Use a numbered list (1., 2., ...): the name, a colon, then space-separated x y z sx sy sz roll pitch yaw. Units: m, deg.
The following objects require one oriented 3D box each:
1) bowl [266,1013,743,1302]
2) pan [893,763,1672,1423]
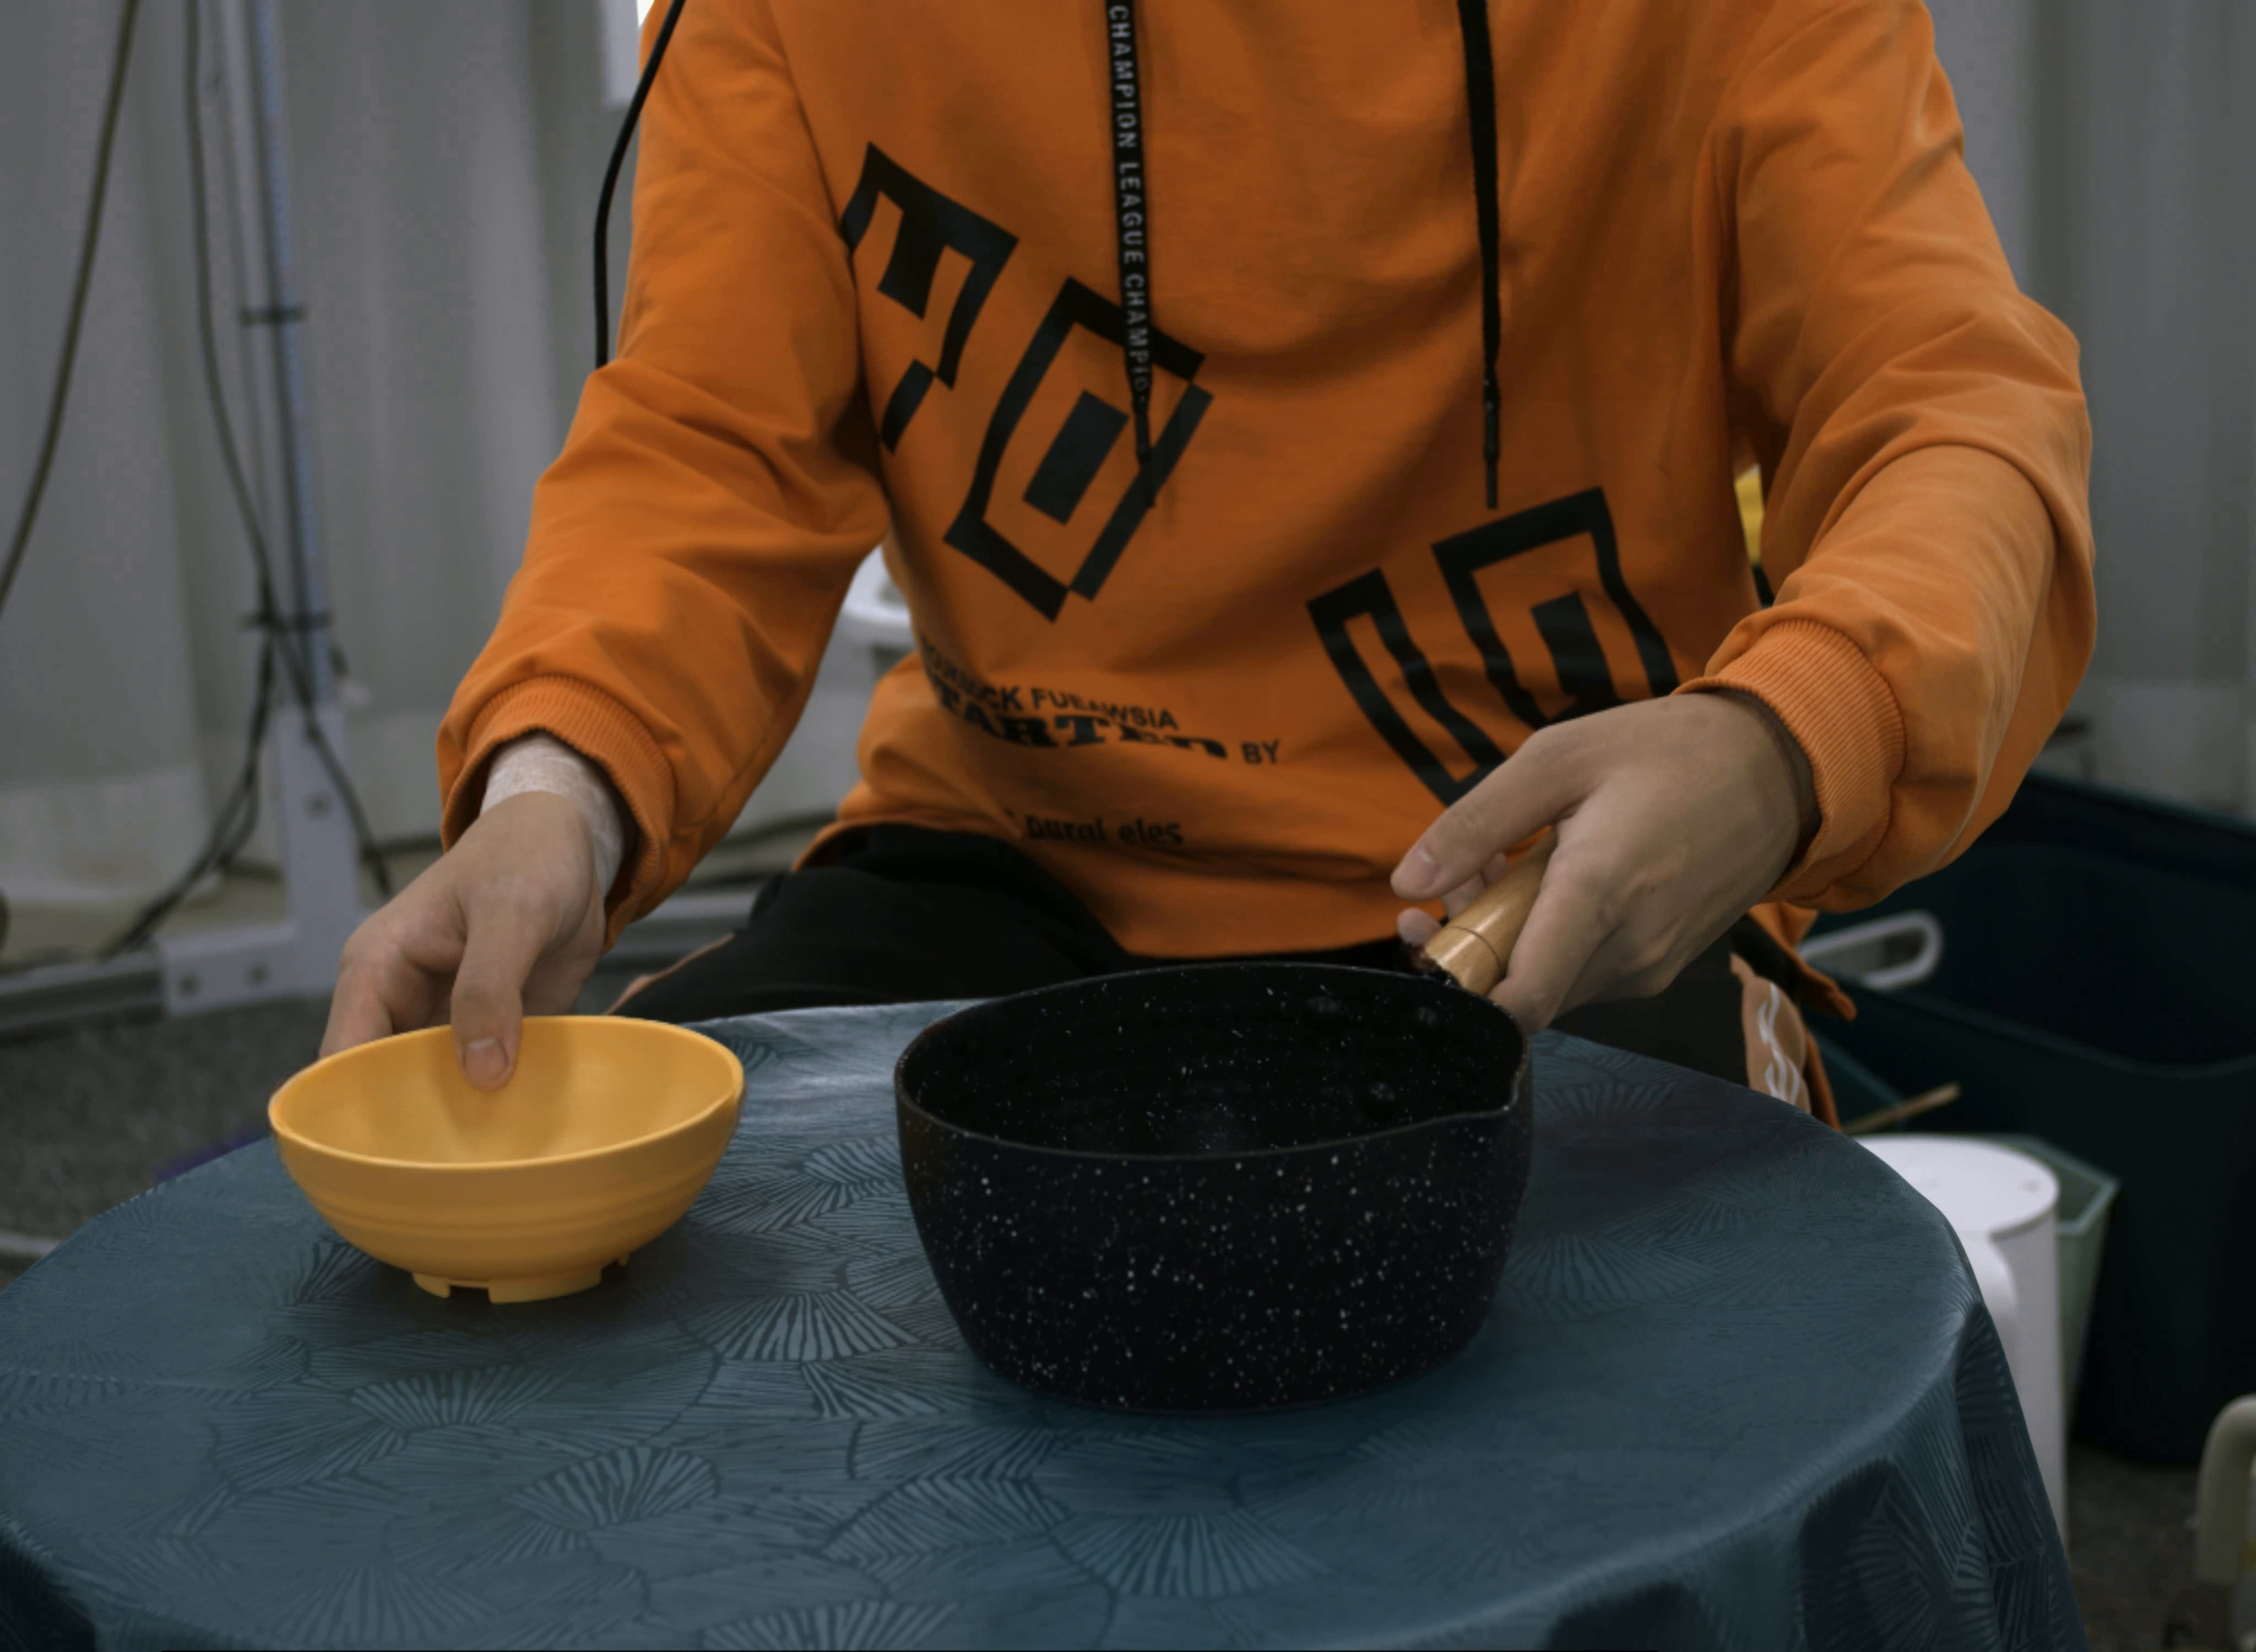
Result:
1. bowl: -0.188 0.107 1.669 0.145 0.060 0.146 -2 15 0
2. pan: 0.070 0.075 1.641 0.208 0.108 0.343 5 18 34
